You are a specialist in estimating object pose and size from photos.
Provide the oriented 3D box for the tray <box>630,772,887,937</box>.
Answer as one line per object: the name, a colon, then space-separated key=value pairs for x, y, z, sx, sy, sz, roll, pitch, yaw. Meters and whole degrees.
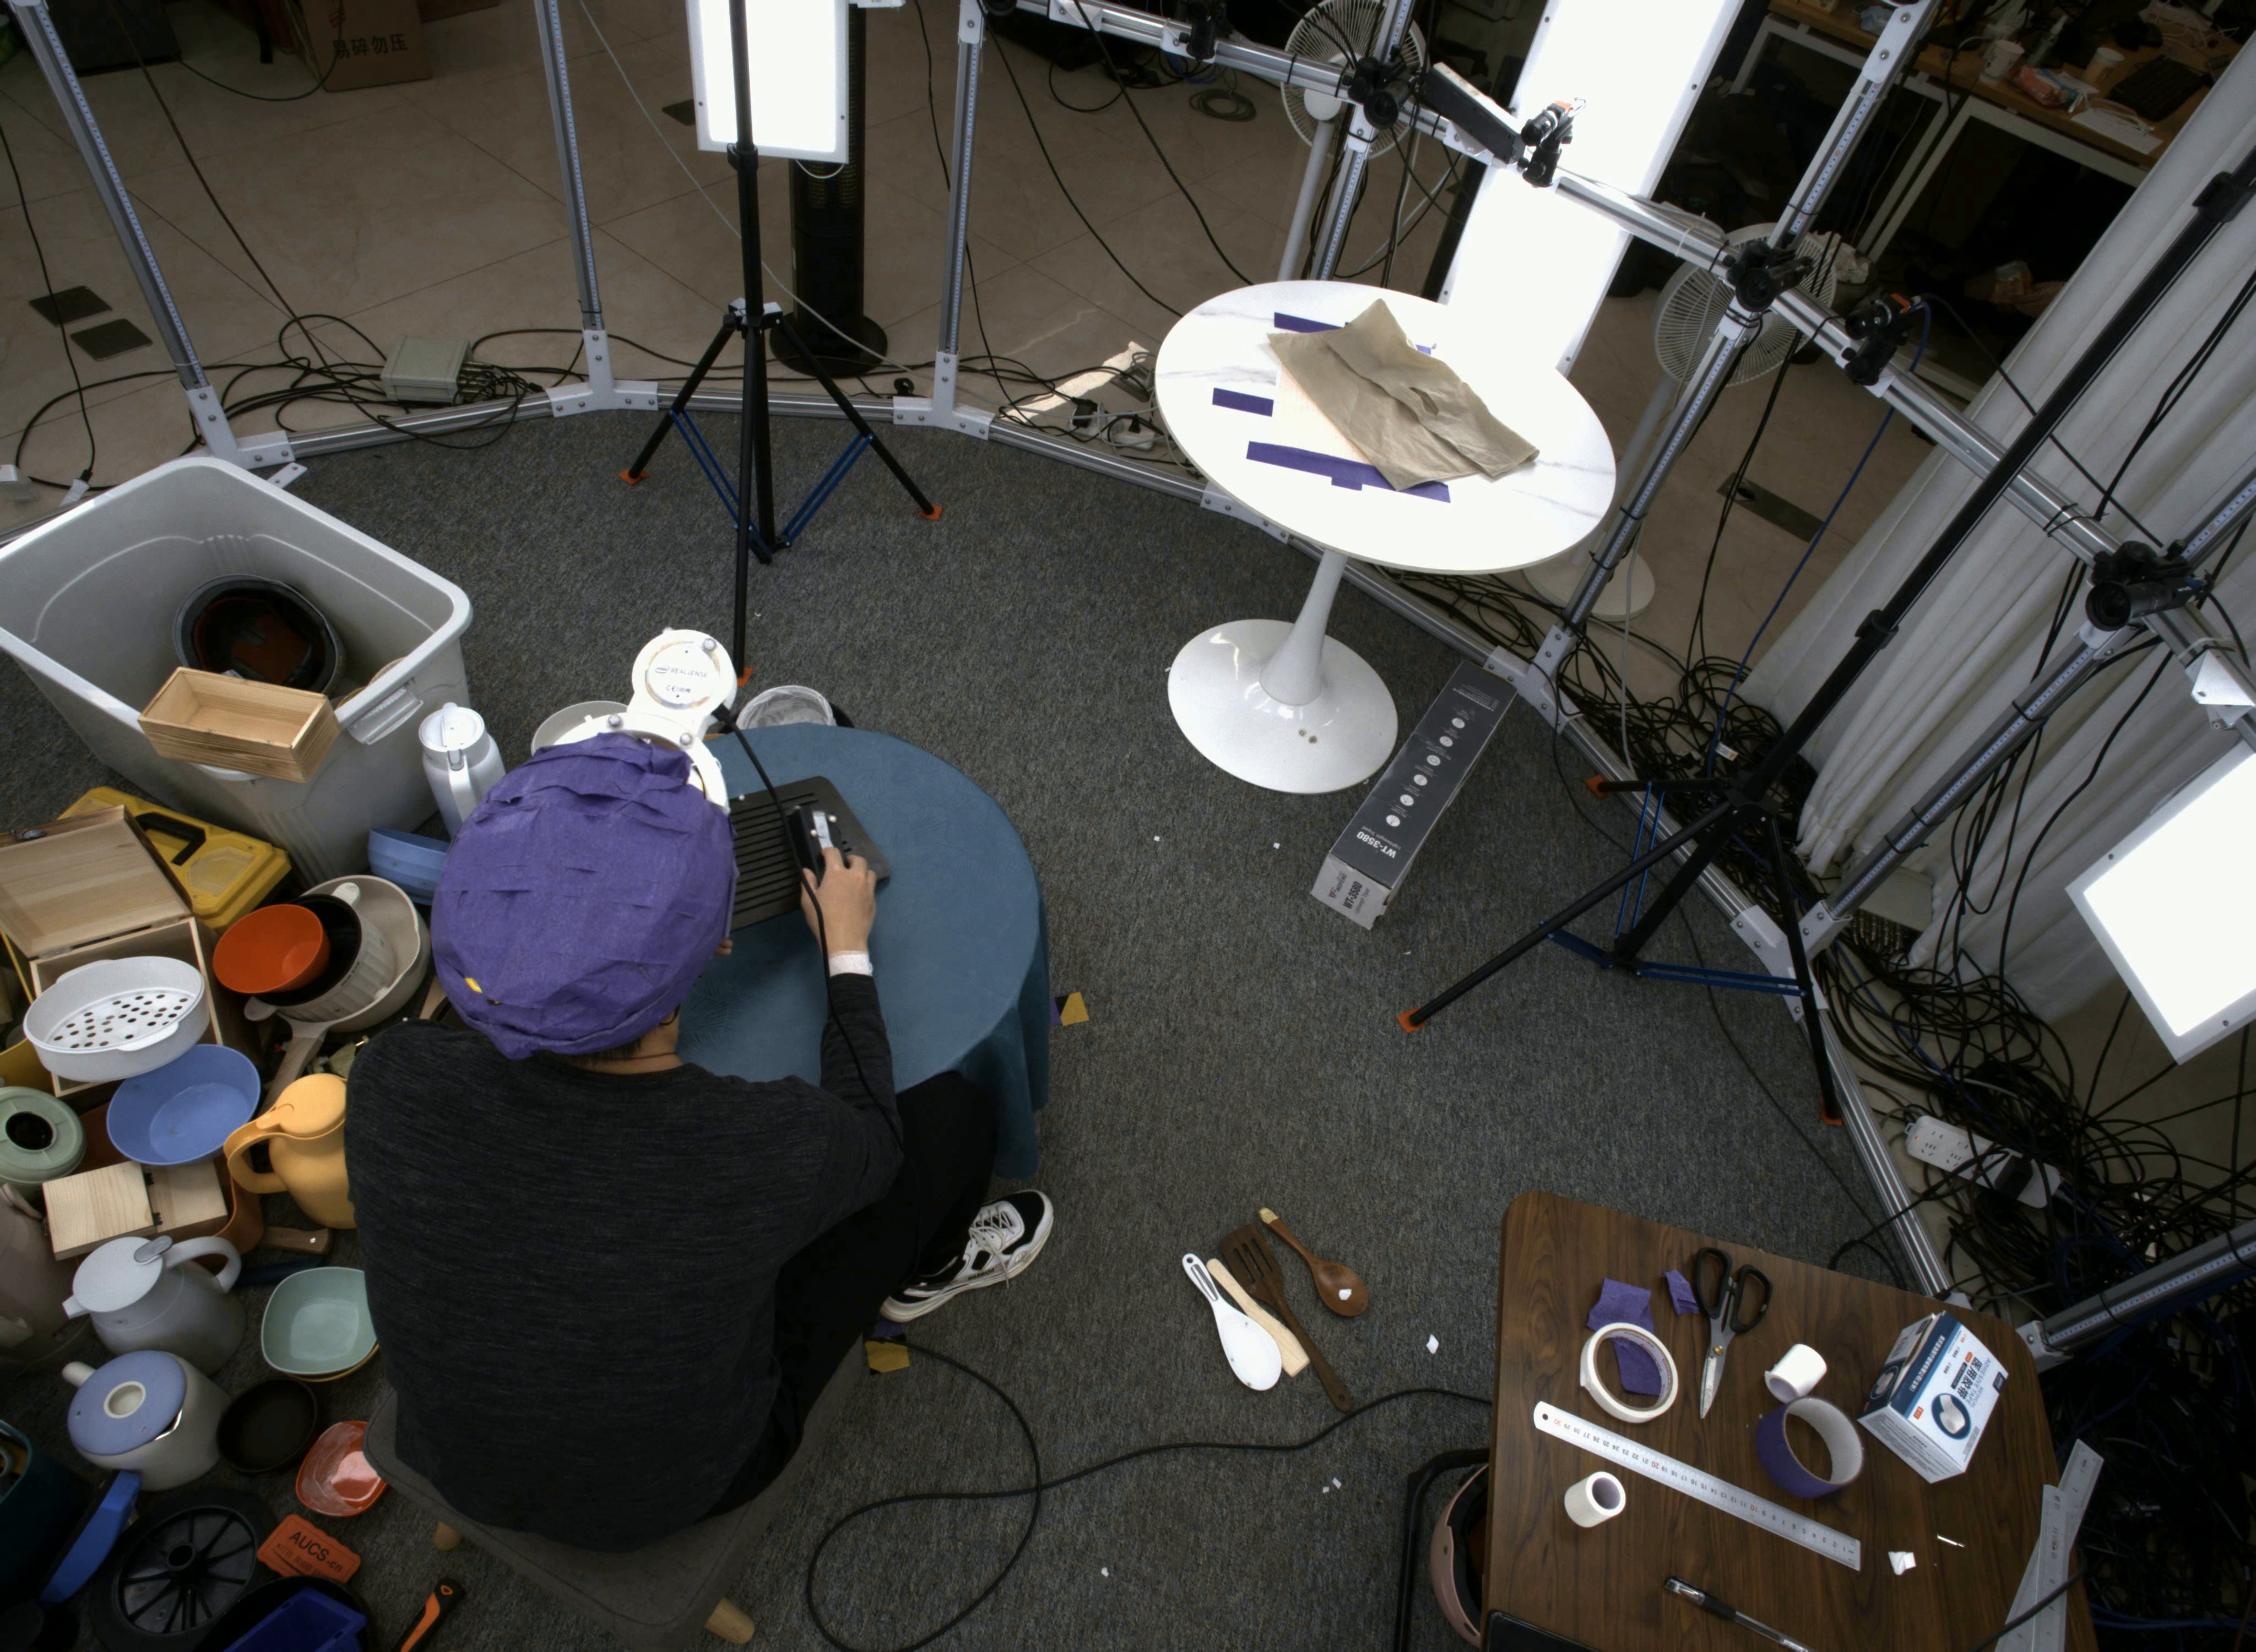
tray: x=-0.448 y=0.029 z=1.592 sx=0.309 sy=0.018 sz=0.168 roll=-21 pitch=72 yaw=-52

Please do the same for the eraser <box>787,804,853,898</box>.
eraser: x=-0.386 y=0.029 z=1.621 sx=0.054 sy=0.030 sz=0.123 roll=1 pitch=57 yaw=-42
